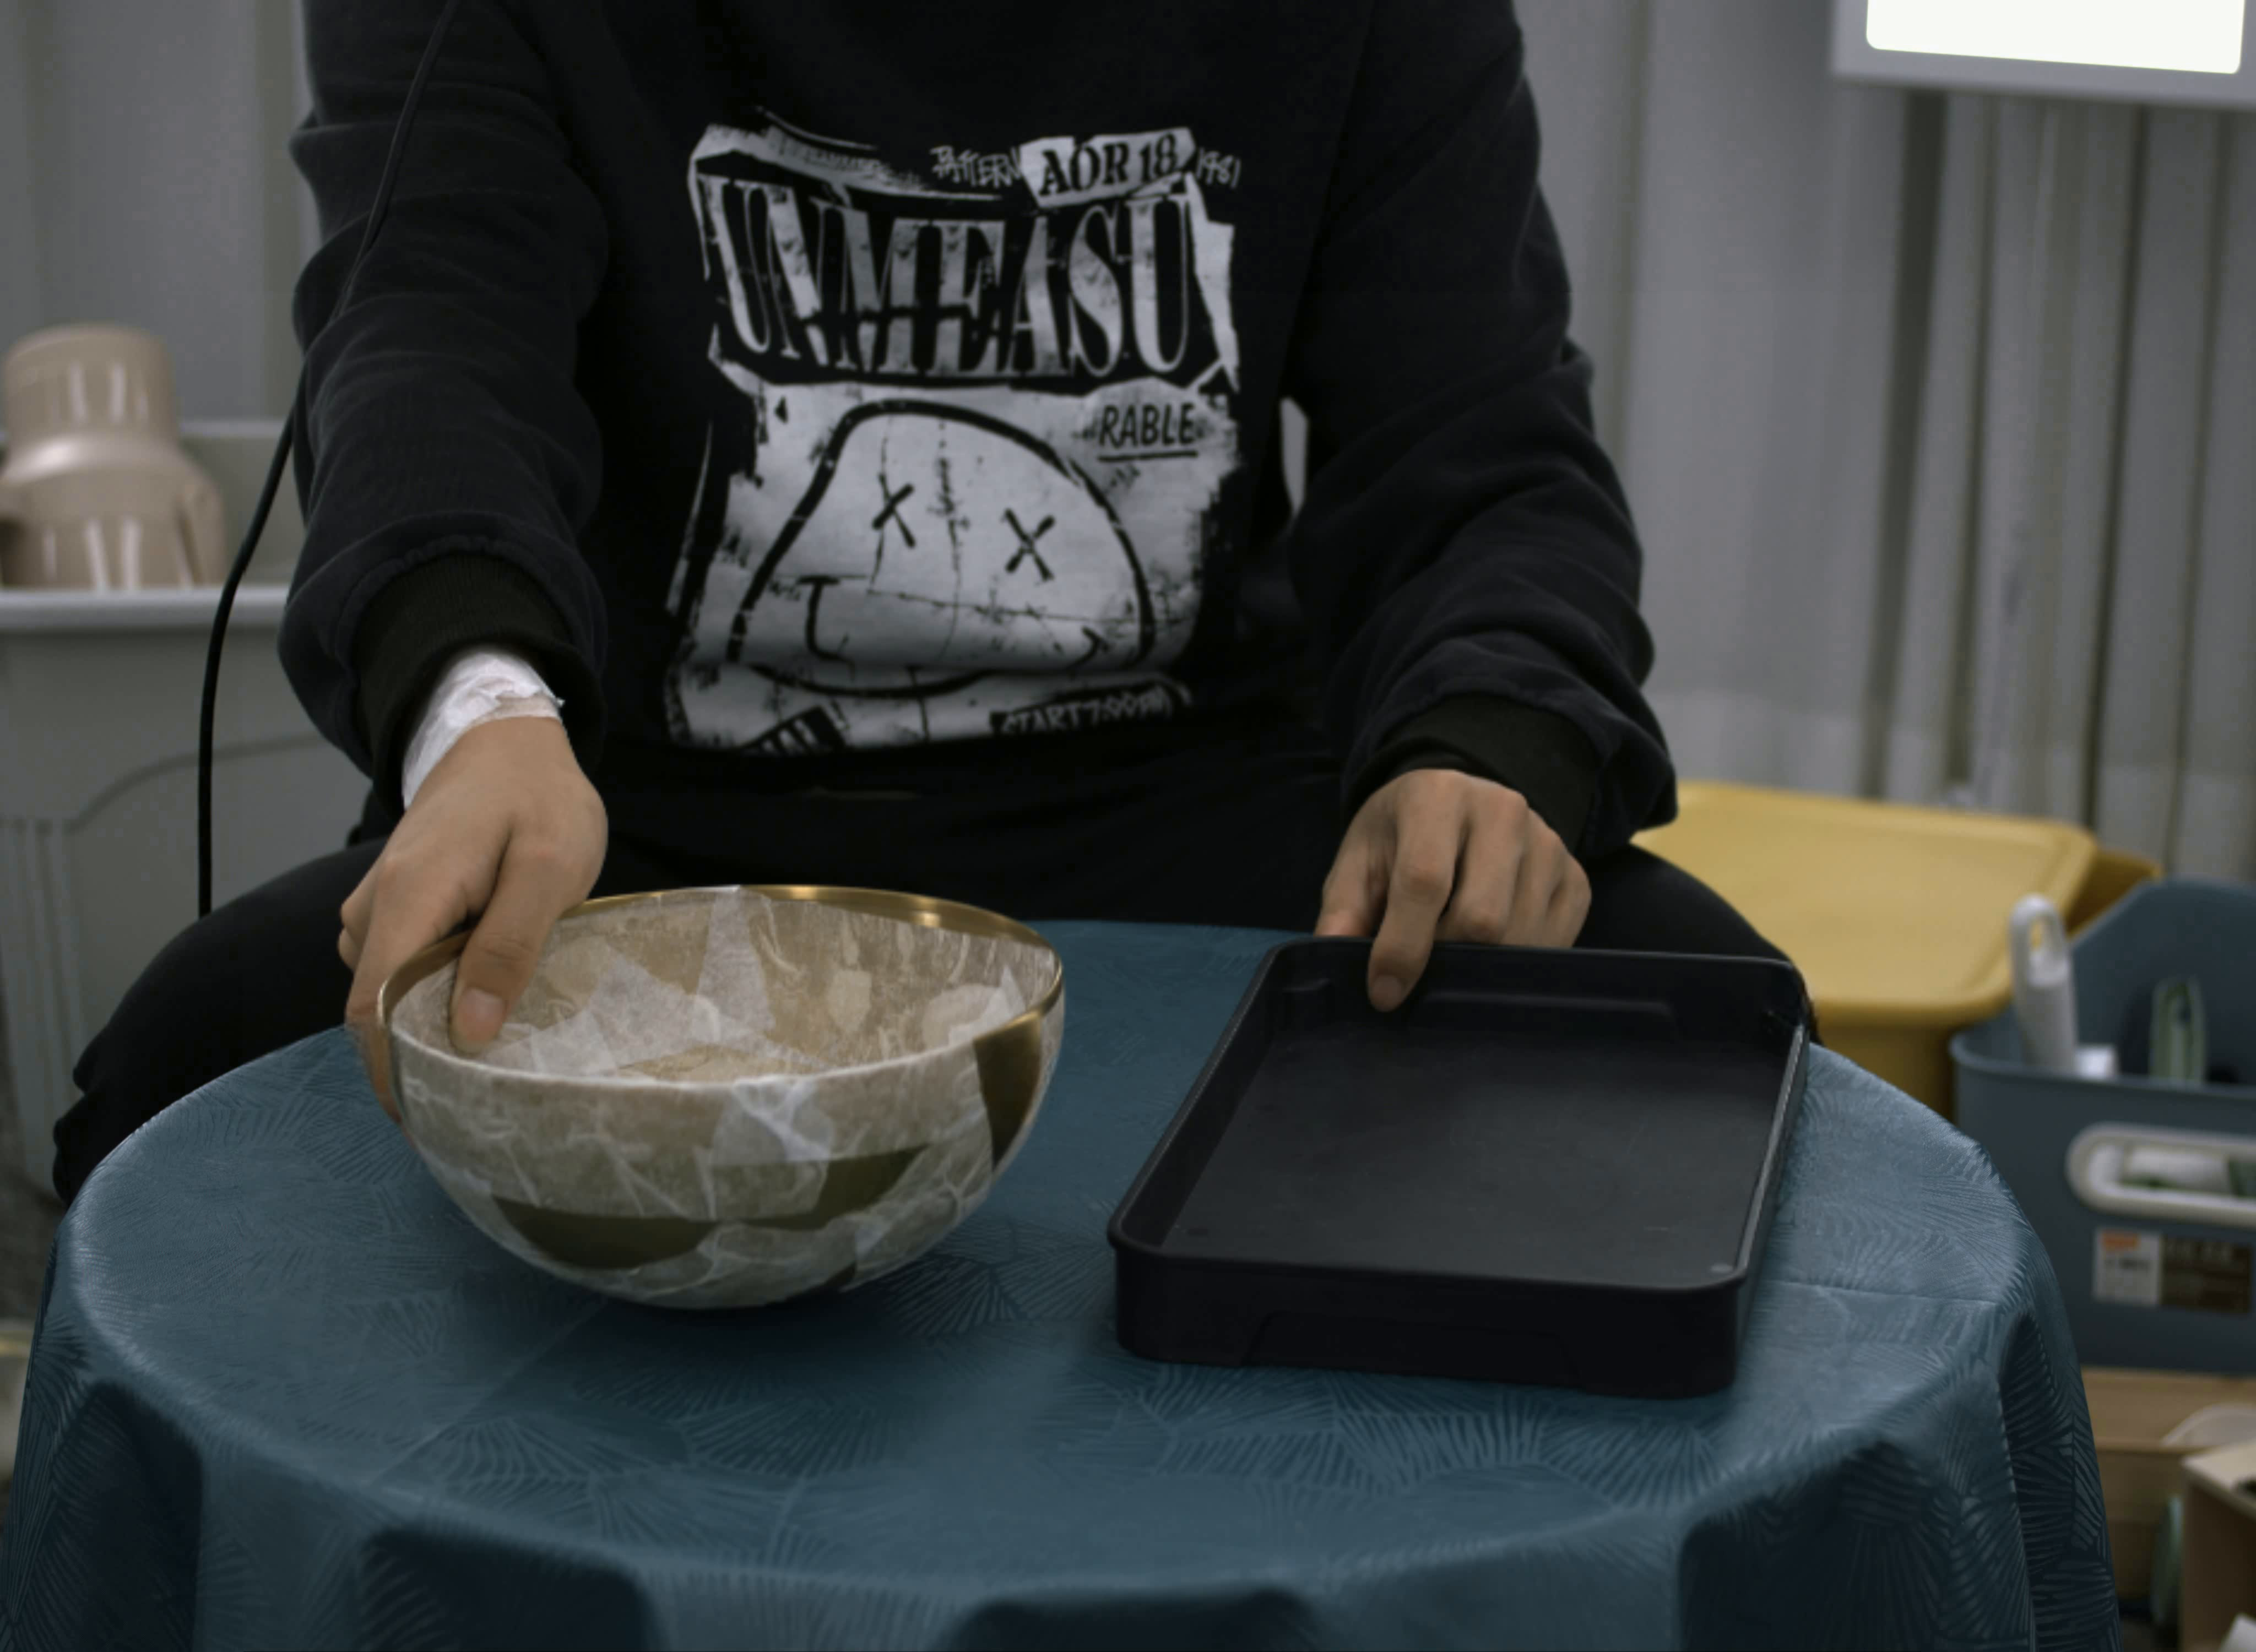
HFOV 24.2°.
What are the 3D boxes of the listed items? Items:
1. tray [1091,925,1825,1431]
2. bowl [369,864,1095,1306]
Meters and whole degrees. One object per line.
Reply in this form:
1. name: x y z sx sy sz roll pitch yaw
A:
1. tray: 0.109 0.101 1.617 0.183 0.037 0.317 5 18 12
2. bowl: -0.113 0.084 1.535 0.214 0.095 0.213 -2 16 1
